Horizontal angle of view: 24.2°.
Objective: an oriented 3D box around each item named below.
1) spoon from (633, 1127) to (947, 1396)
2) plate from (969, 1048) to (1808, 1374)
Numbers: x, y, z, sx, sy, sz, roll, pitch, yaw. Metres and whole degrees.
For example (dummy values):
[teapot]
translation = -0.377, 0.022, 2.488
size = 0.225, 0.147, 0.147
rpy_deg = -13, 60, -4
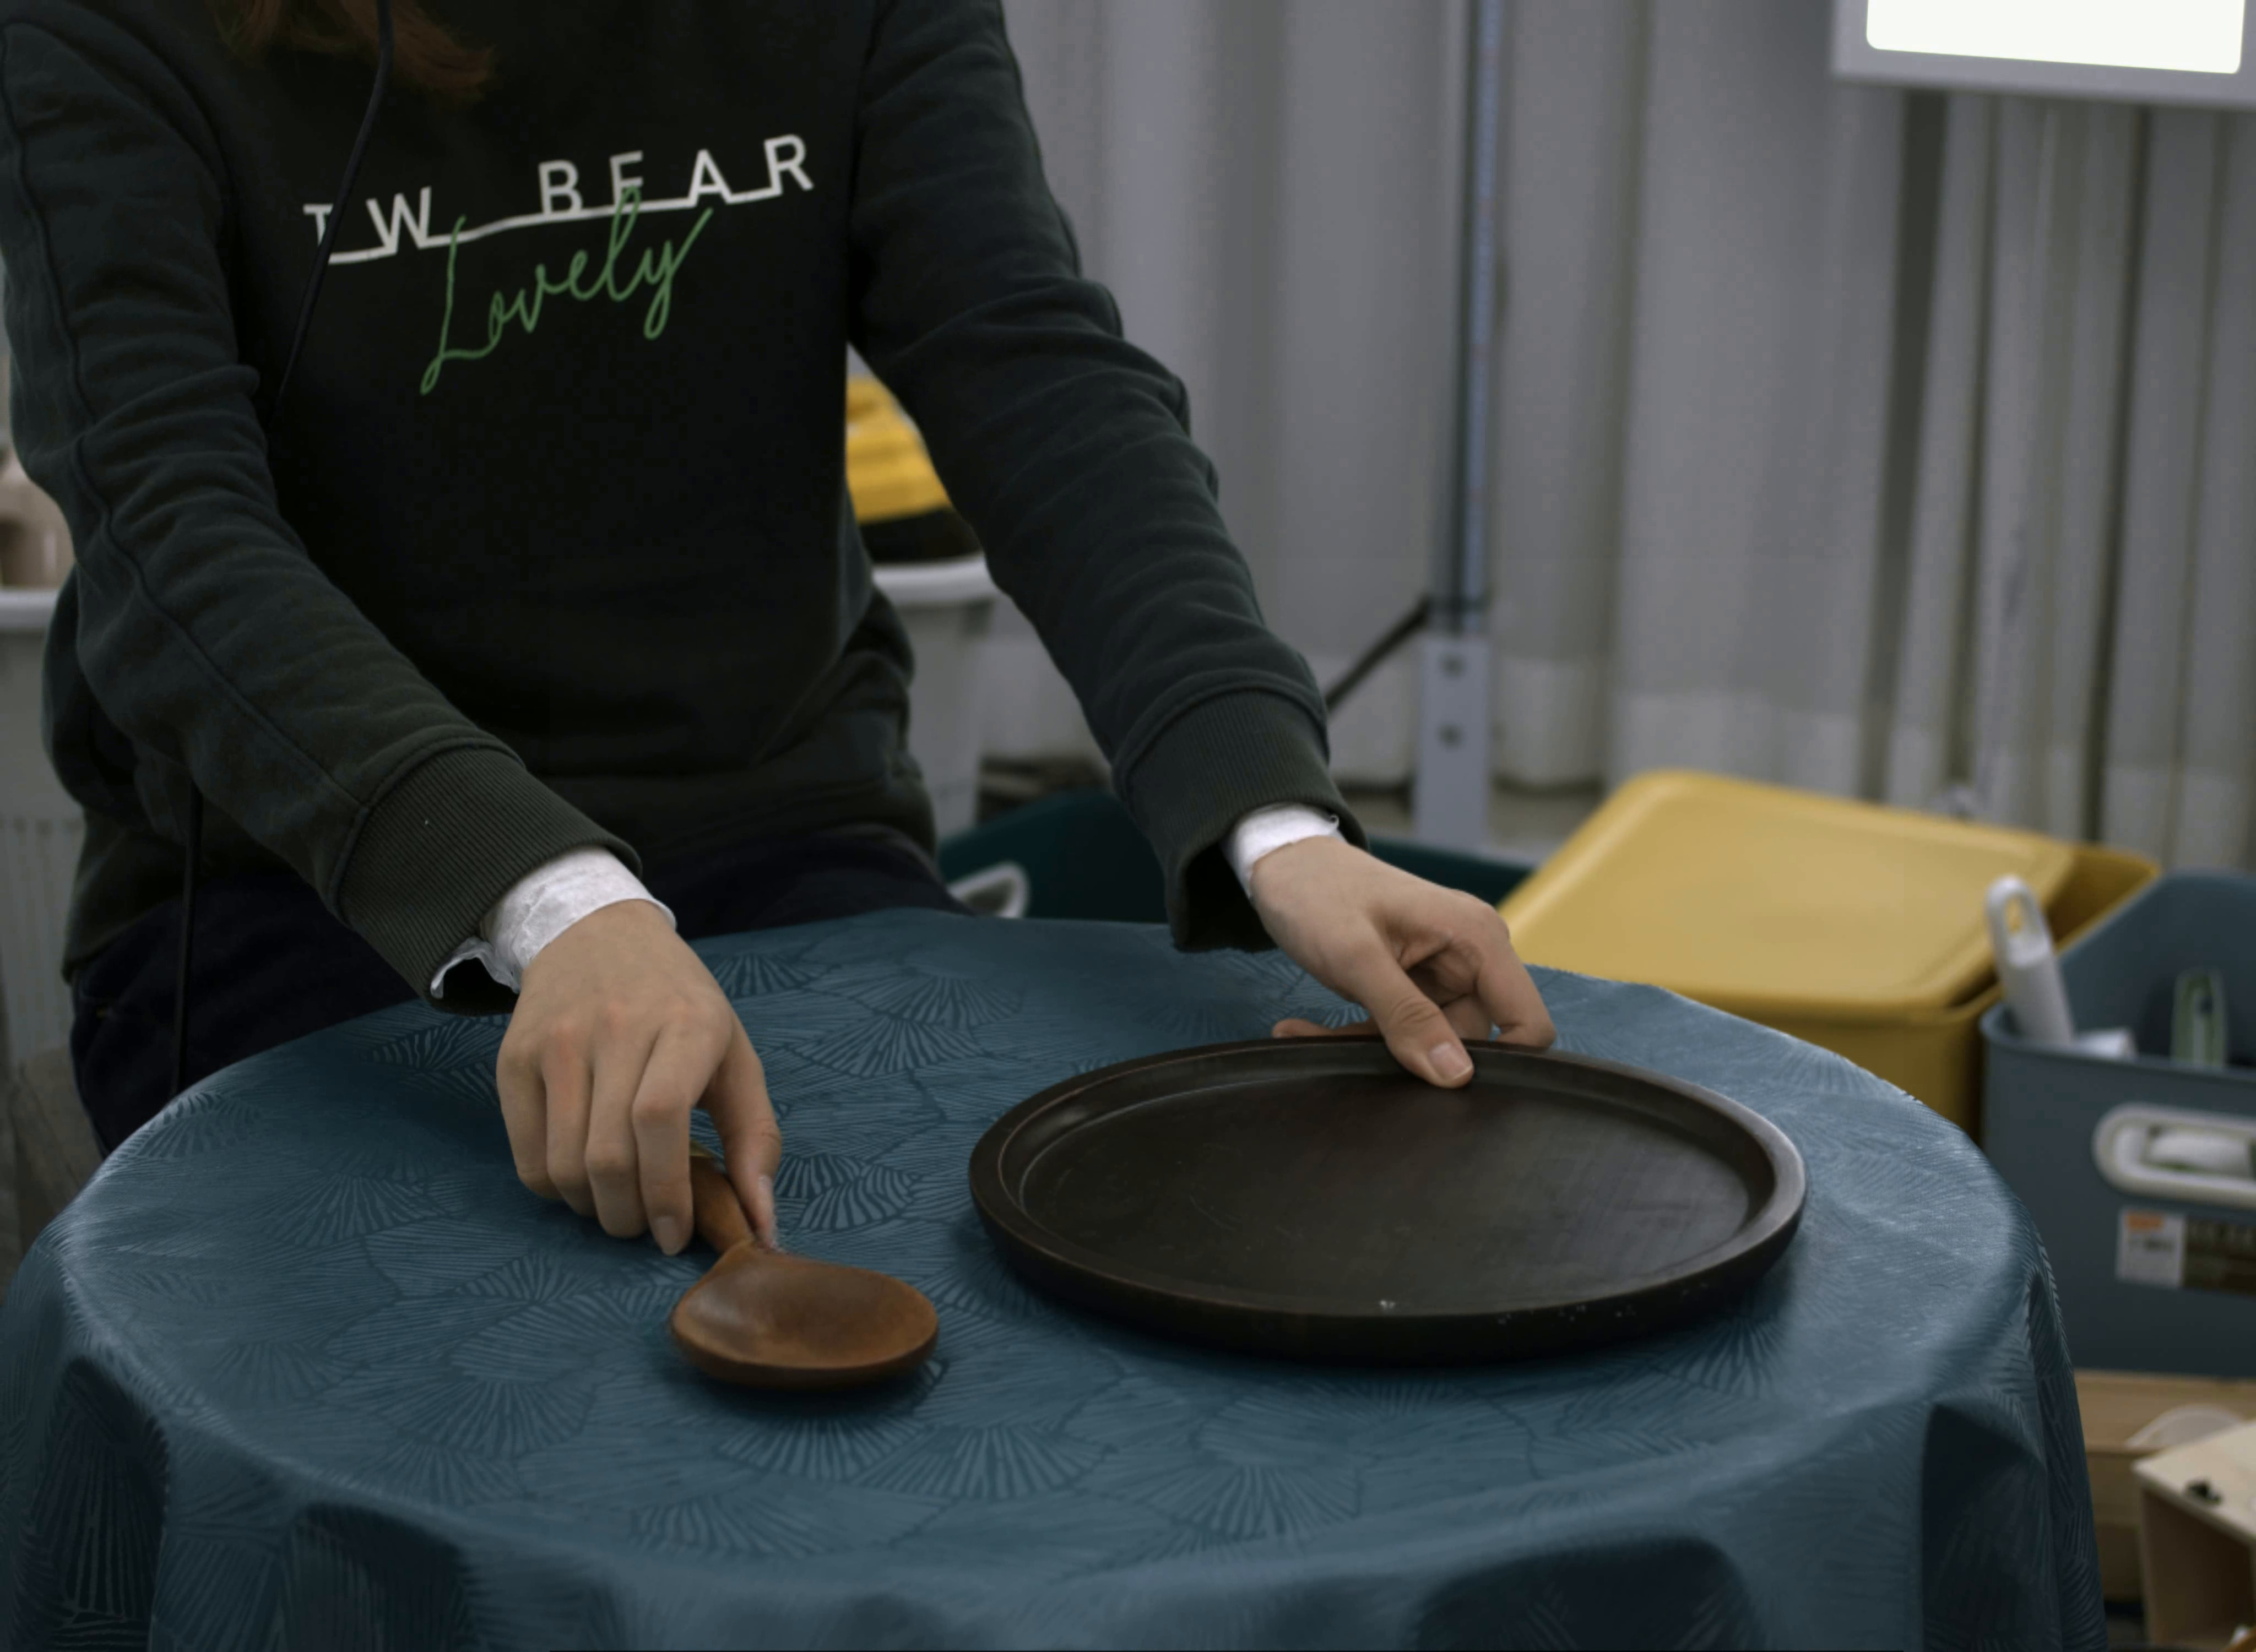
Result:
[spoon]
translation = -0.109, 0.128, 1.538
size = 0.075, 0.017, 0.213
rpy_deg = -6, 17, -18
[plate]
translation = 0.078, 0.113, 1.589
size = 0.254, 0.029, 0.253
rpy_deg = 2, 17, 0
